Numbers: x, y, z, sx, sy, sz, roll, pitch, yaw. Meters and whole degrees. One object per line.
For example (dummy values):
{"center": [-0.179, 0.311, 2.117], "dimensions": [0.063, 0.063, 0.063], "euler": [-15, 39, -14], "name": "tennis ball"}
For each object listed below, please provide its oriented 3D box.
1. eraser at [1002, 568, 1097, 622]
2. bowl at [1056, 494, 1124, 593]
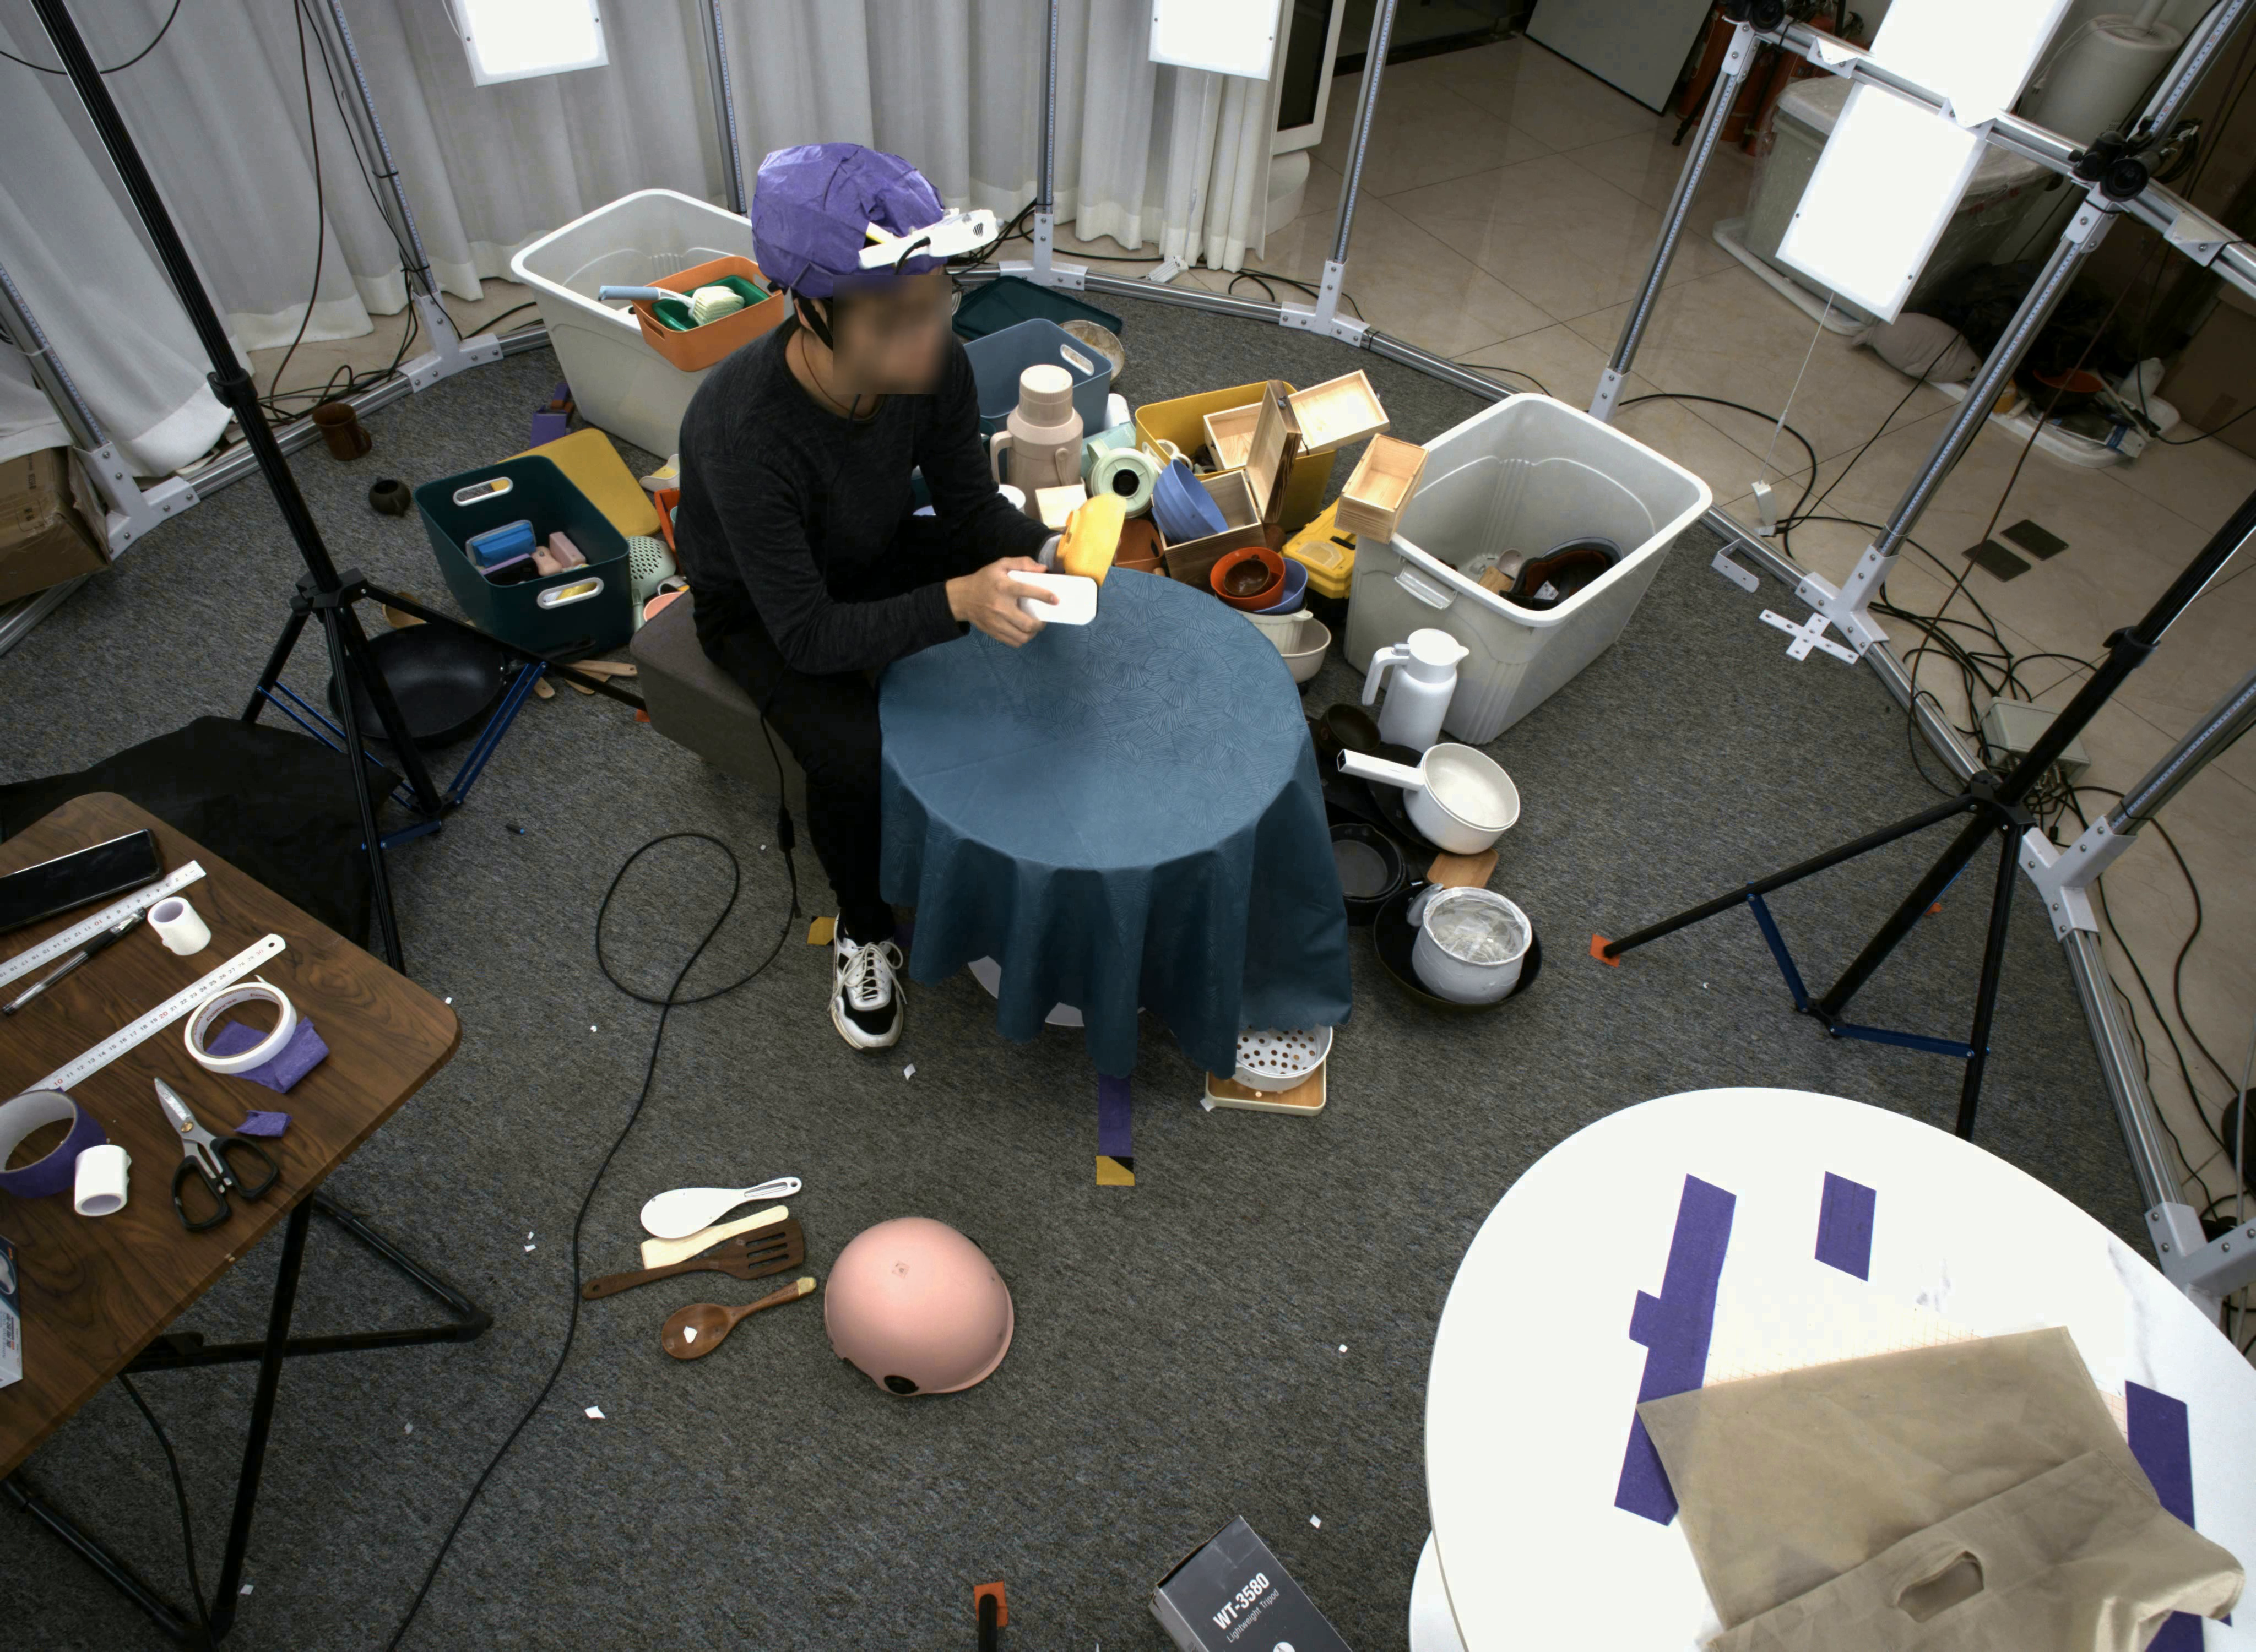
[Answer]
{"center": [-0.102, -0.300, 1.661], "dimensions": [0.132, 0.063, 0.035], "euler": [10, 16, 25], "name": "eraser"}
{"center": [-0.056, -0.374, 1.690], "dimensions": [0.060, 0.142, 0.149], "euler": [16, 48, -12], "name": "bowl"}
